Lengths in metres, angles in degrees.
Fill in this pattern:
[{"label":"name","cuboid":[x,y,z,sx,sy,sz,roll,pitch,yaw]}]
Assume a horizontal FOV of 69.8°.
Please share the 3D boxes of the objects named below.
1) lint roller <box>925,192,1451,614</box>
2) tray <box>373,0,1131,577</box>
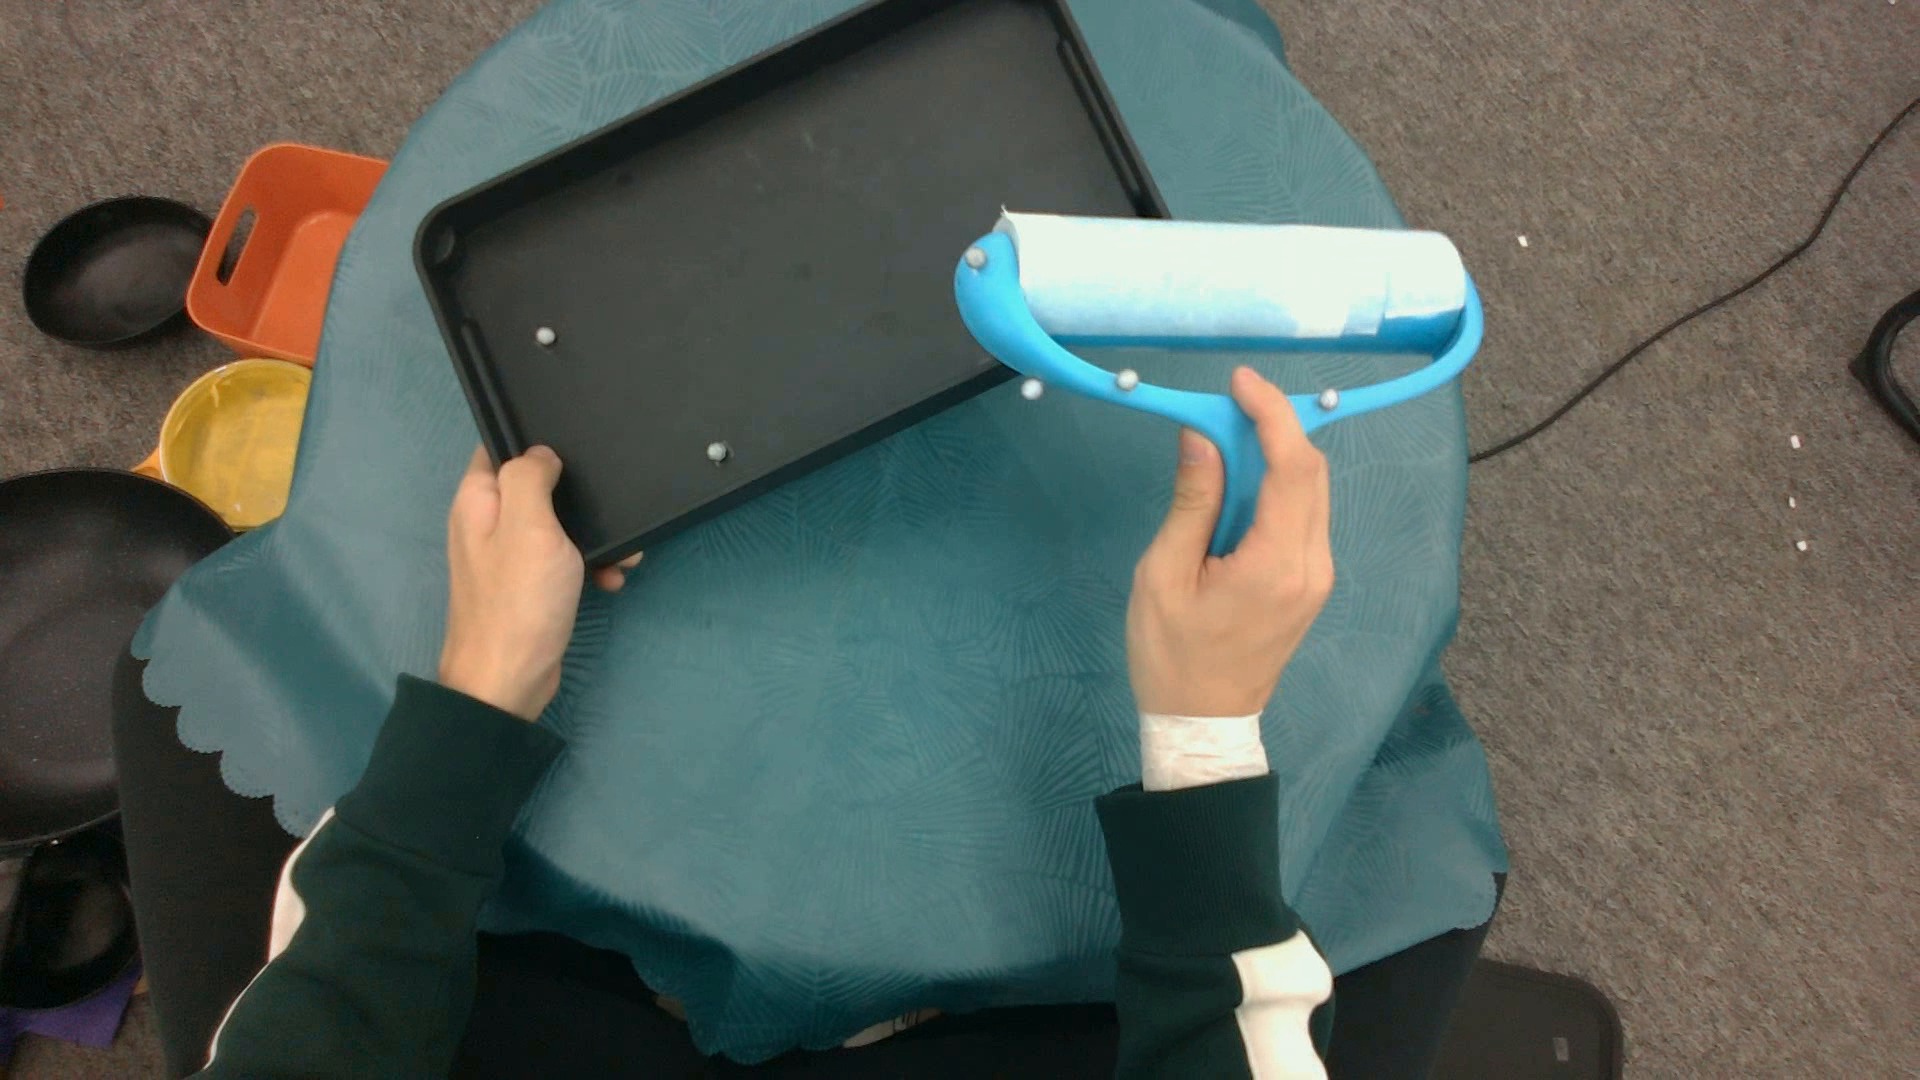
[{"label":"lint roller","cuboid":[0.102,-0.056,0.571,0.229,0.068,0.180,-6,95,-18]},{"label":"tray","cuboid":[-0.092,-0.127,0.629,0.318,0.037,0.184,-27,81,0]}]
